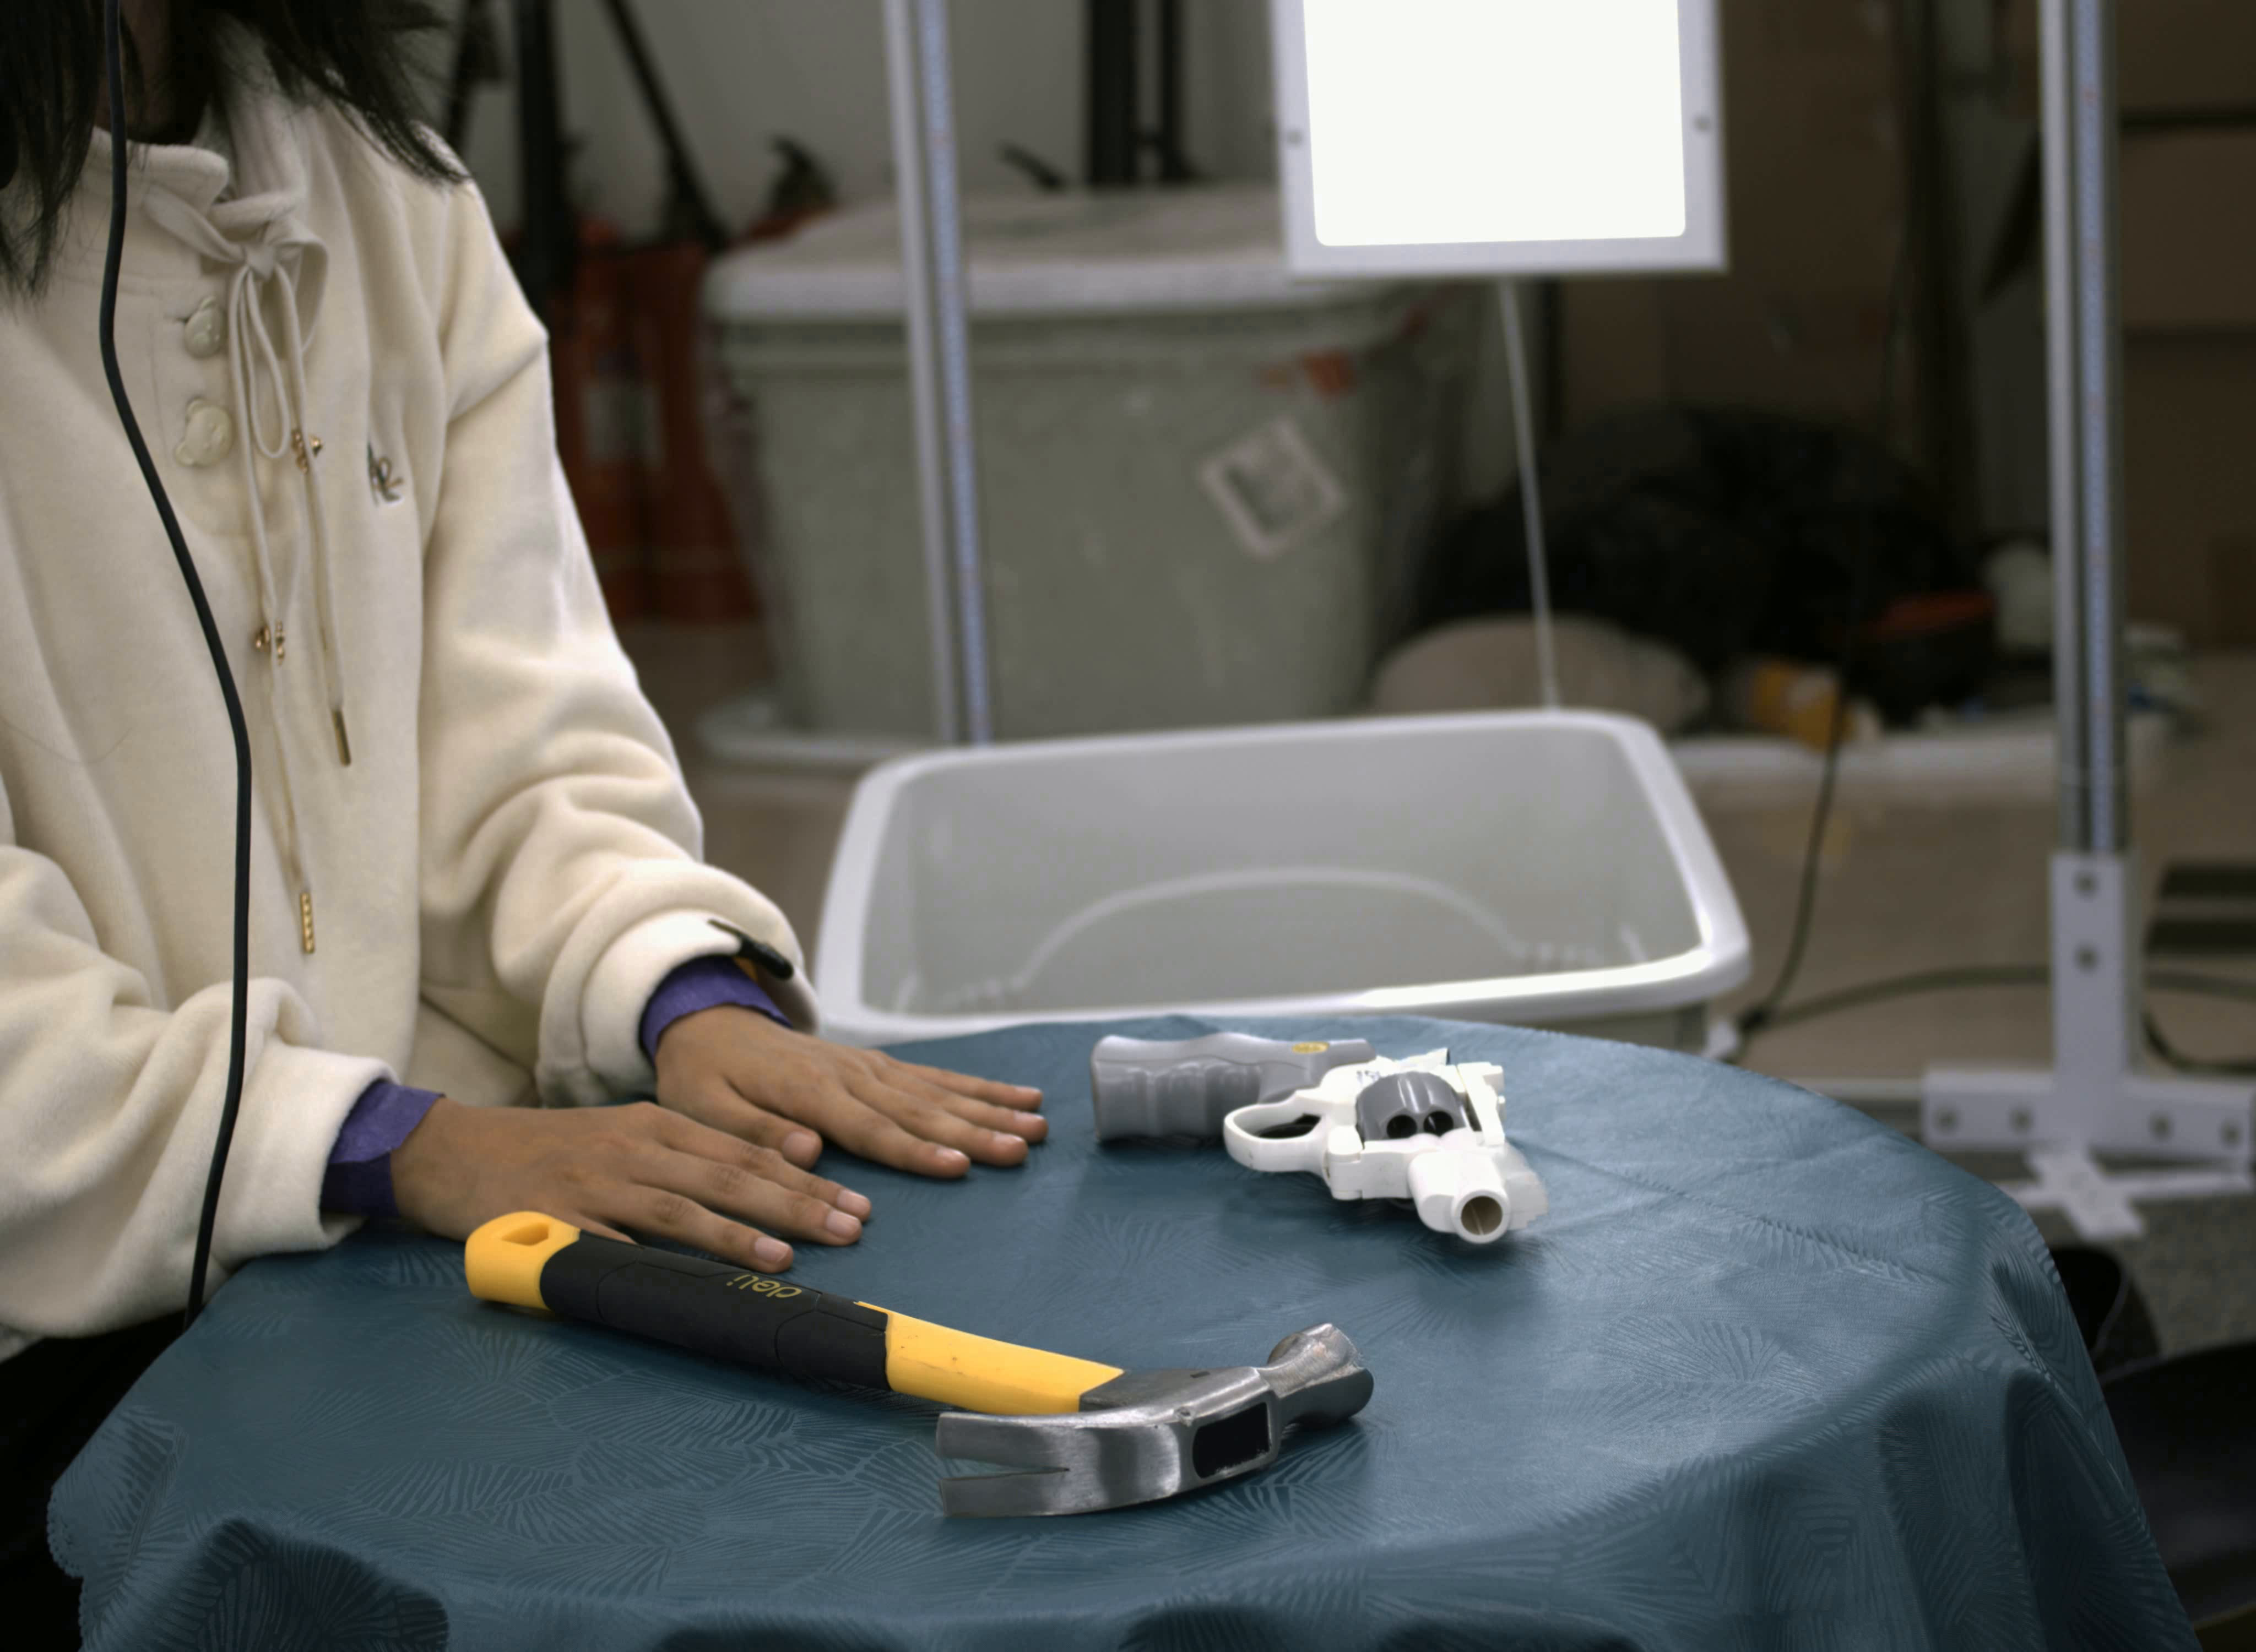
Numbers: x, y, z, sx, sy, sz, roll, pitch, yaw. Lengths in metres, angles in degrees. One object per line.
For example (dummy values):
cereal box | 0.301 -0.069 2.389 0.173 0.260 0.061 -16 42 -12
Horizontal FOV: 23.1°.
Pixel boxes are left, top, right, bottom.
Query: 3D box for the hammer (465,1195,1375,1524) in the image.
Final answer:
hammer | -0.090 0.158 1.729 0.346 0.032 0.128 10 23 44

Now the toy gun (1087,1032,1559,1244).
toy gun | 0.063 0.105 1.881 0.141 0.039 0.209 -5 14 -4
